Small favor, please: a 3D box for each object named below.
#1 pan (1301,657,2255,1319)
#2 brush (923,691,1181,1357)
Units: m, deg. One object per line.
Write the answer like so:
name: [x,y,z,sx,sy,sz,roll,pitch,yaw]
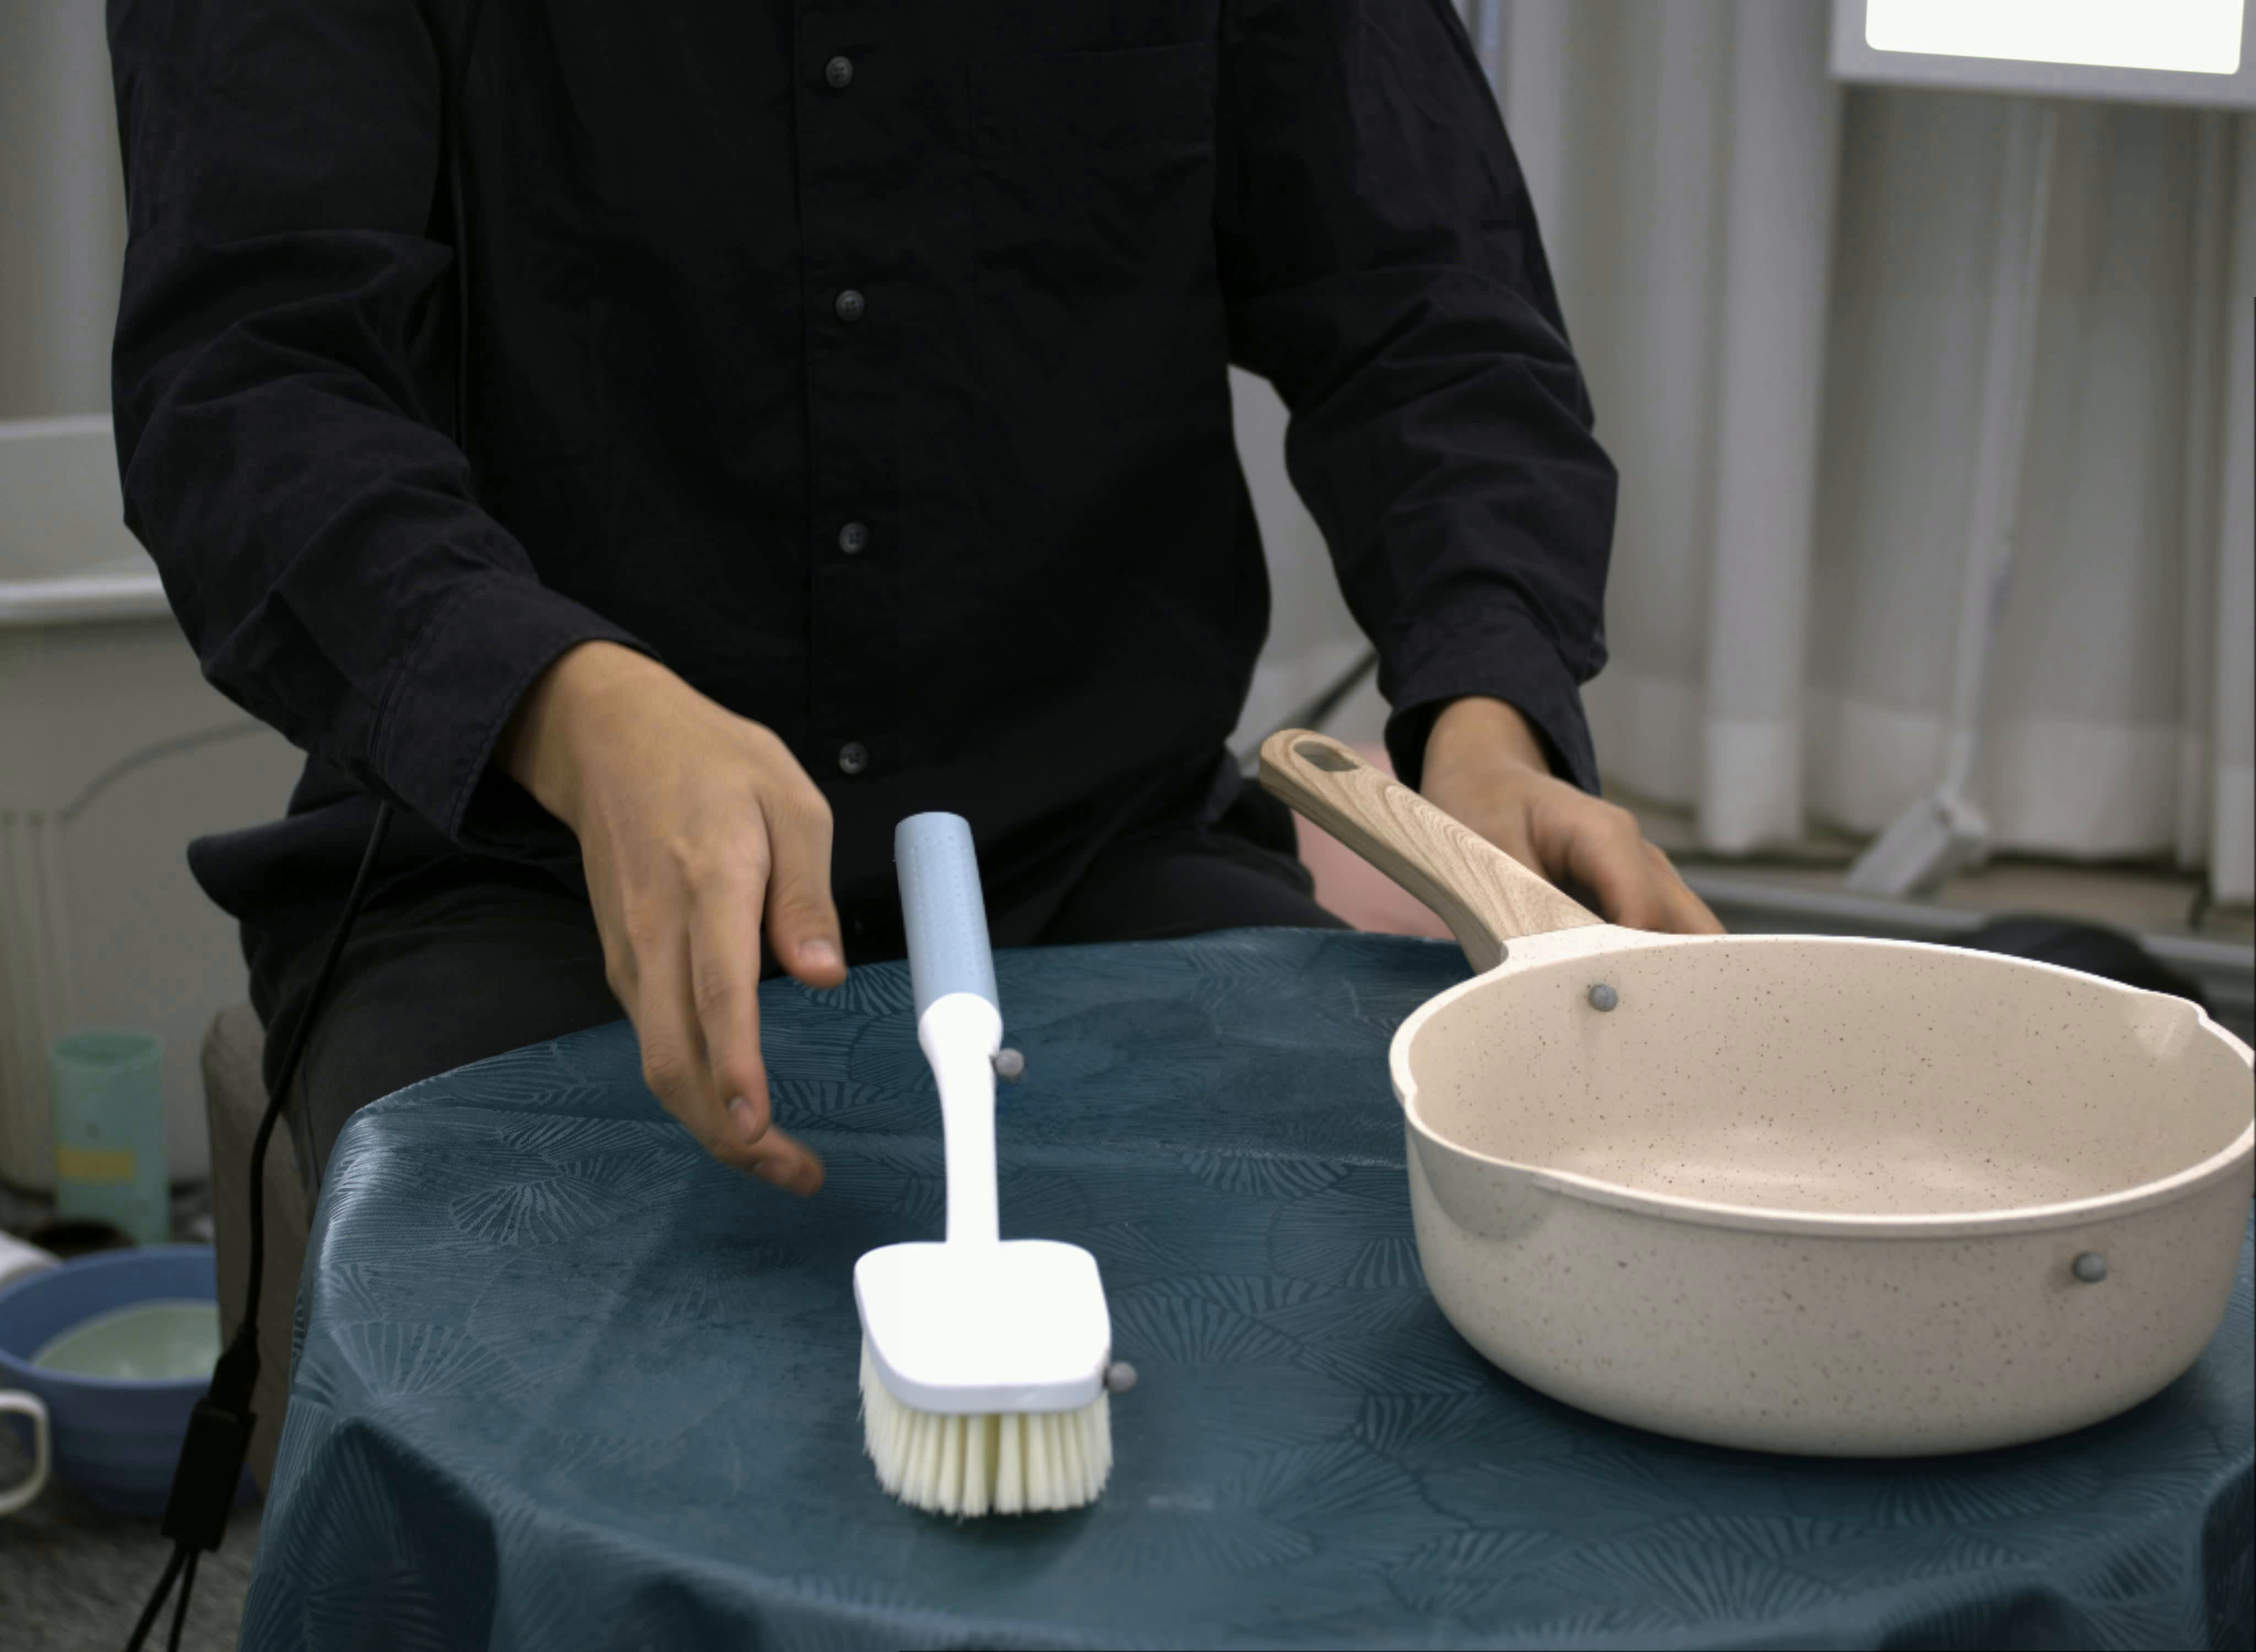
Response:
pan: [0.176,0.044,1.611,0.264,0.103,0.429,-9,18,-29]
brush: [-0.024,0.069,1.540,0.084,0.084,0.322,34,19,-21]
